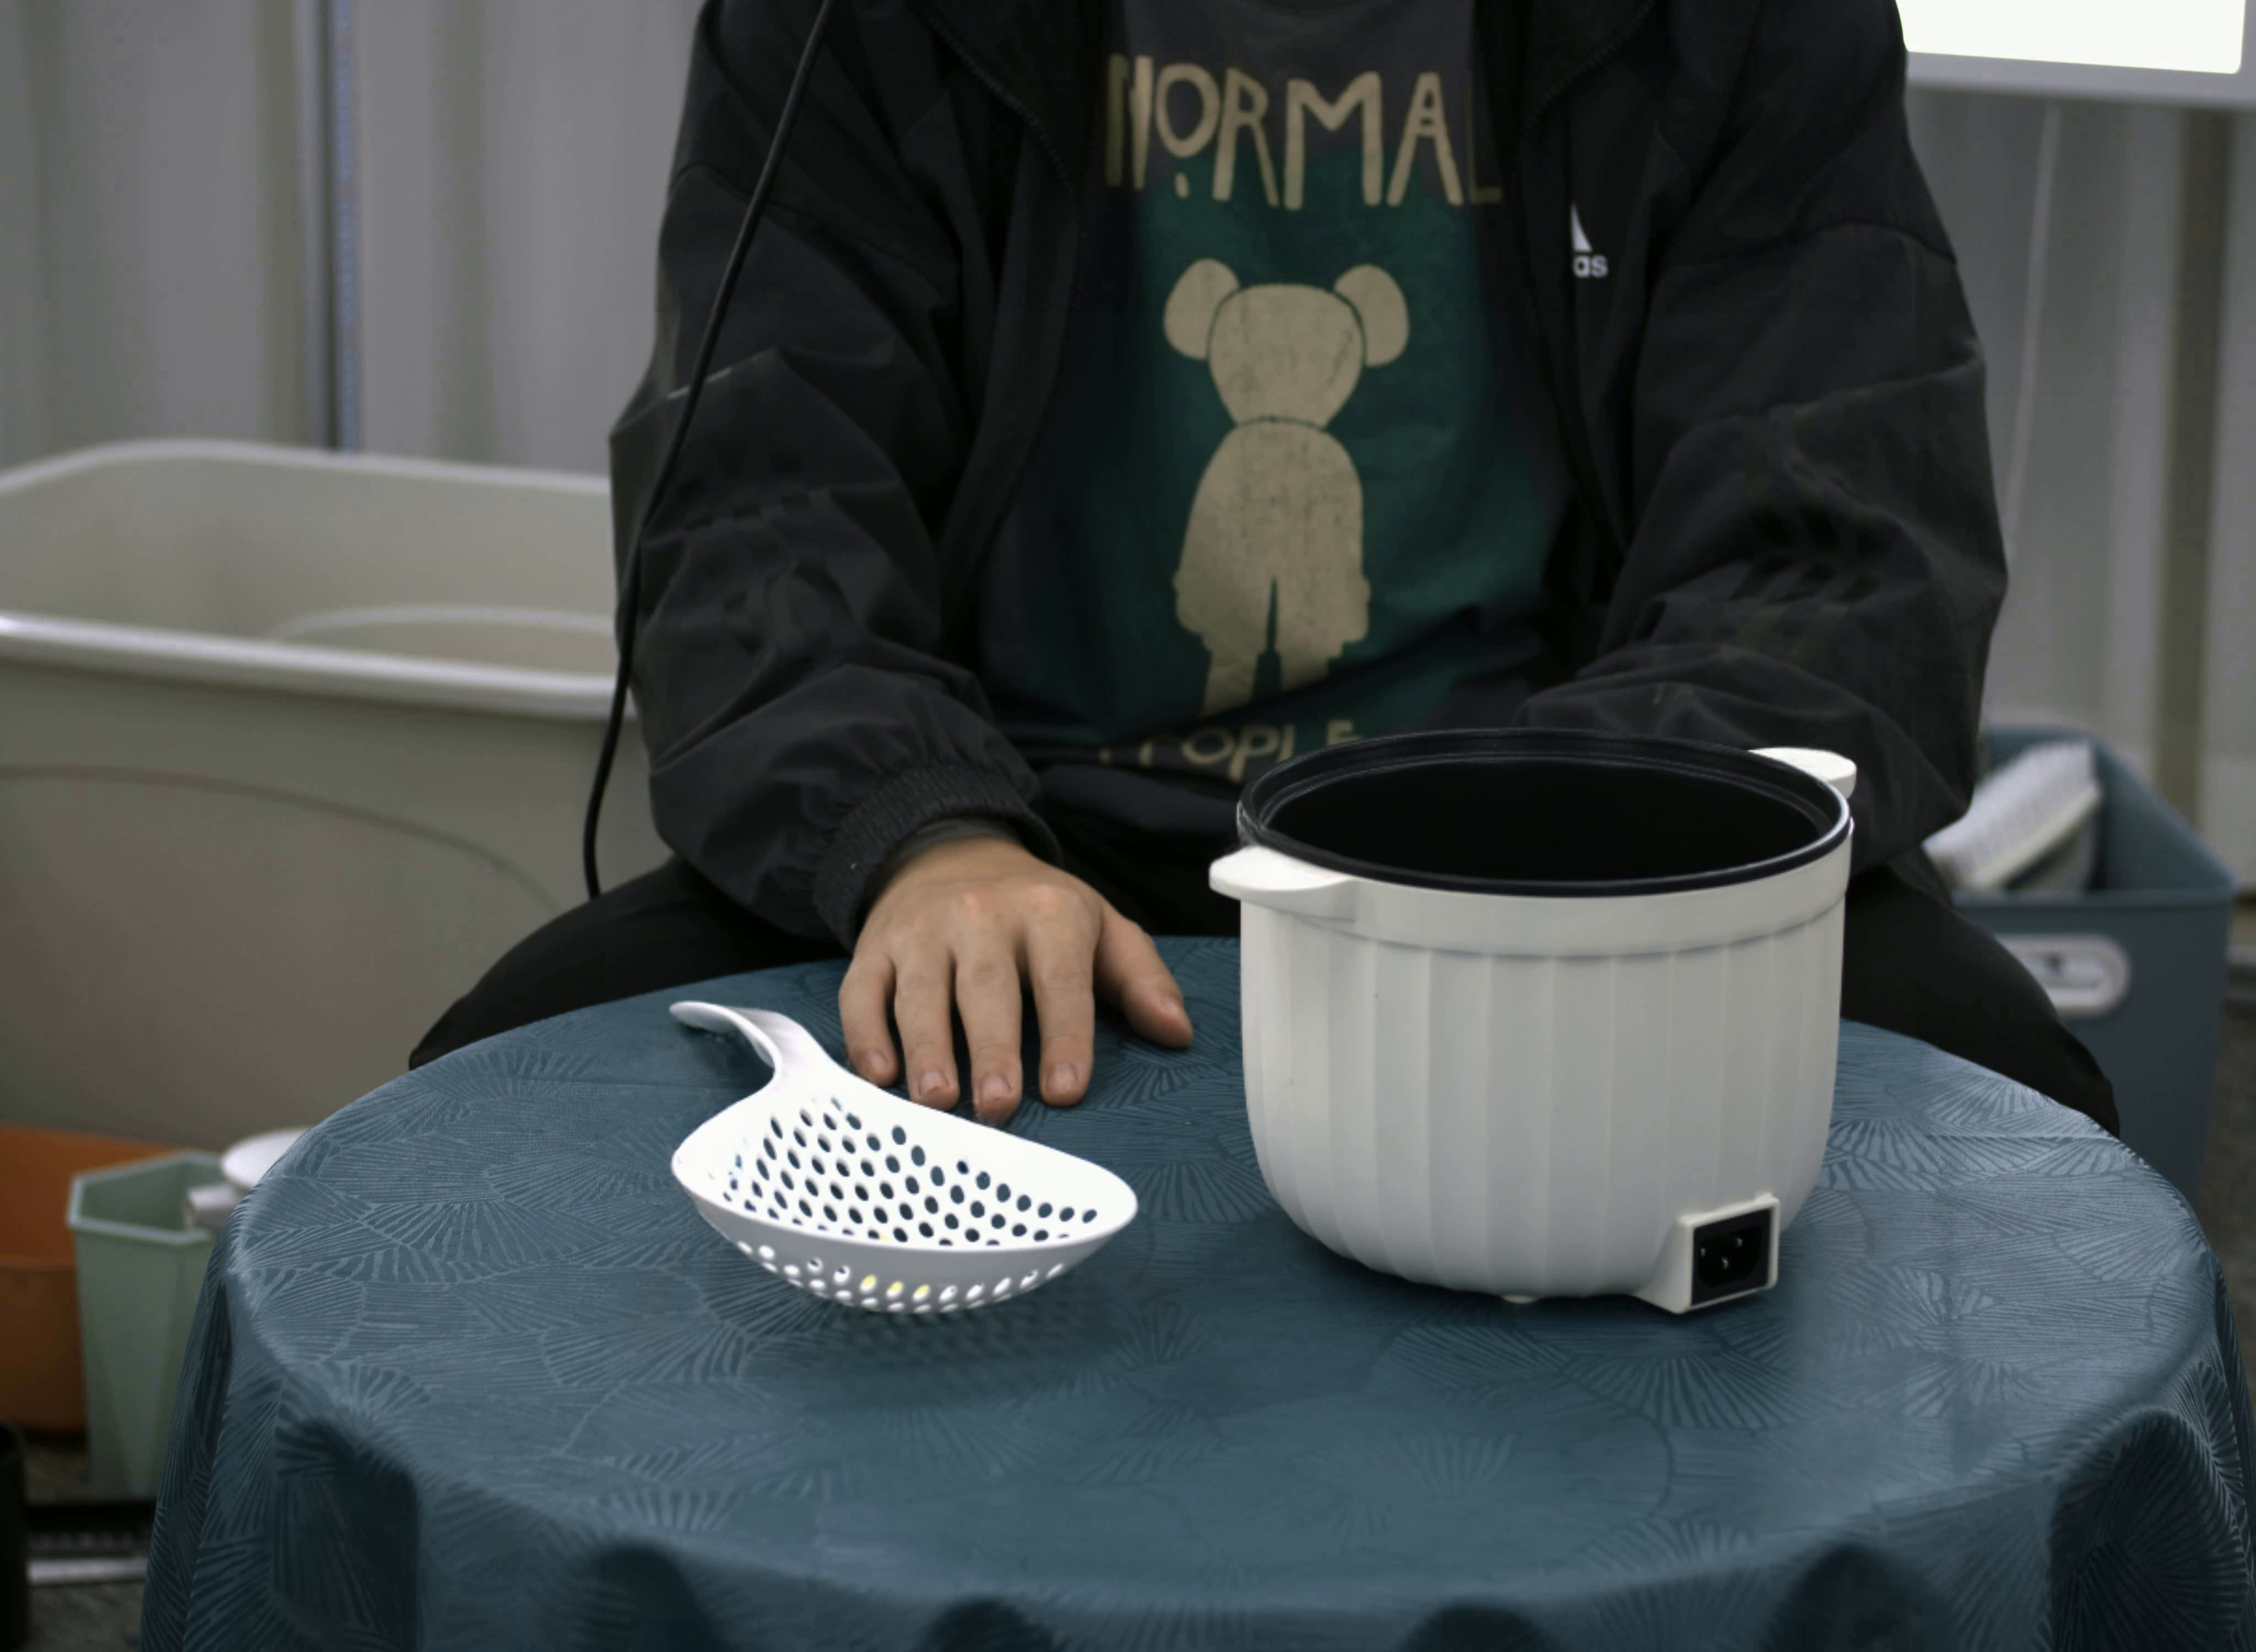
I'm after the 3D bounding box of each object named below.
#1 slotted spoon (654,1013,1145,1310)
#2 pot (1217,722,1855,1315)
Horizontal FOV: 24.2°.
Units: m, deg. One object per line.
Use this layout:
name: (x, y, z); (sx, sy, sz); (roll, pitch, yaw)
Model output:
slotted spoon: (-0.096, 0.089, 1.623); (0.137, 0.050, 0.344); (1, 15, -17)
pot: (0.118, 0.055, 1.575); (0.241, 0.144, 0.188); (-10, 22, -37)
